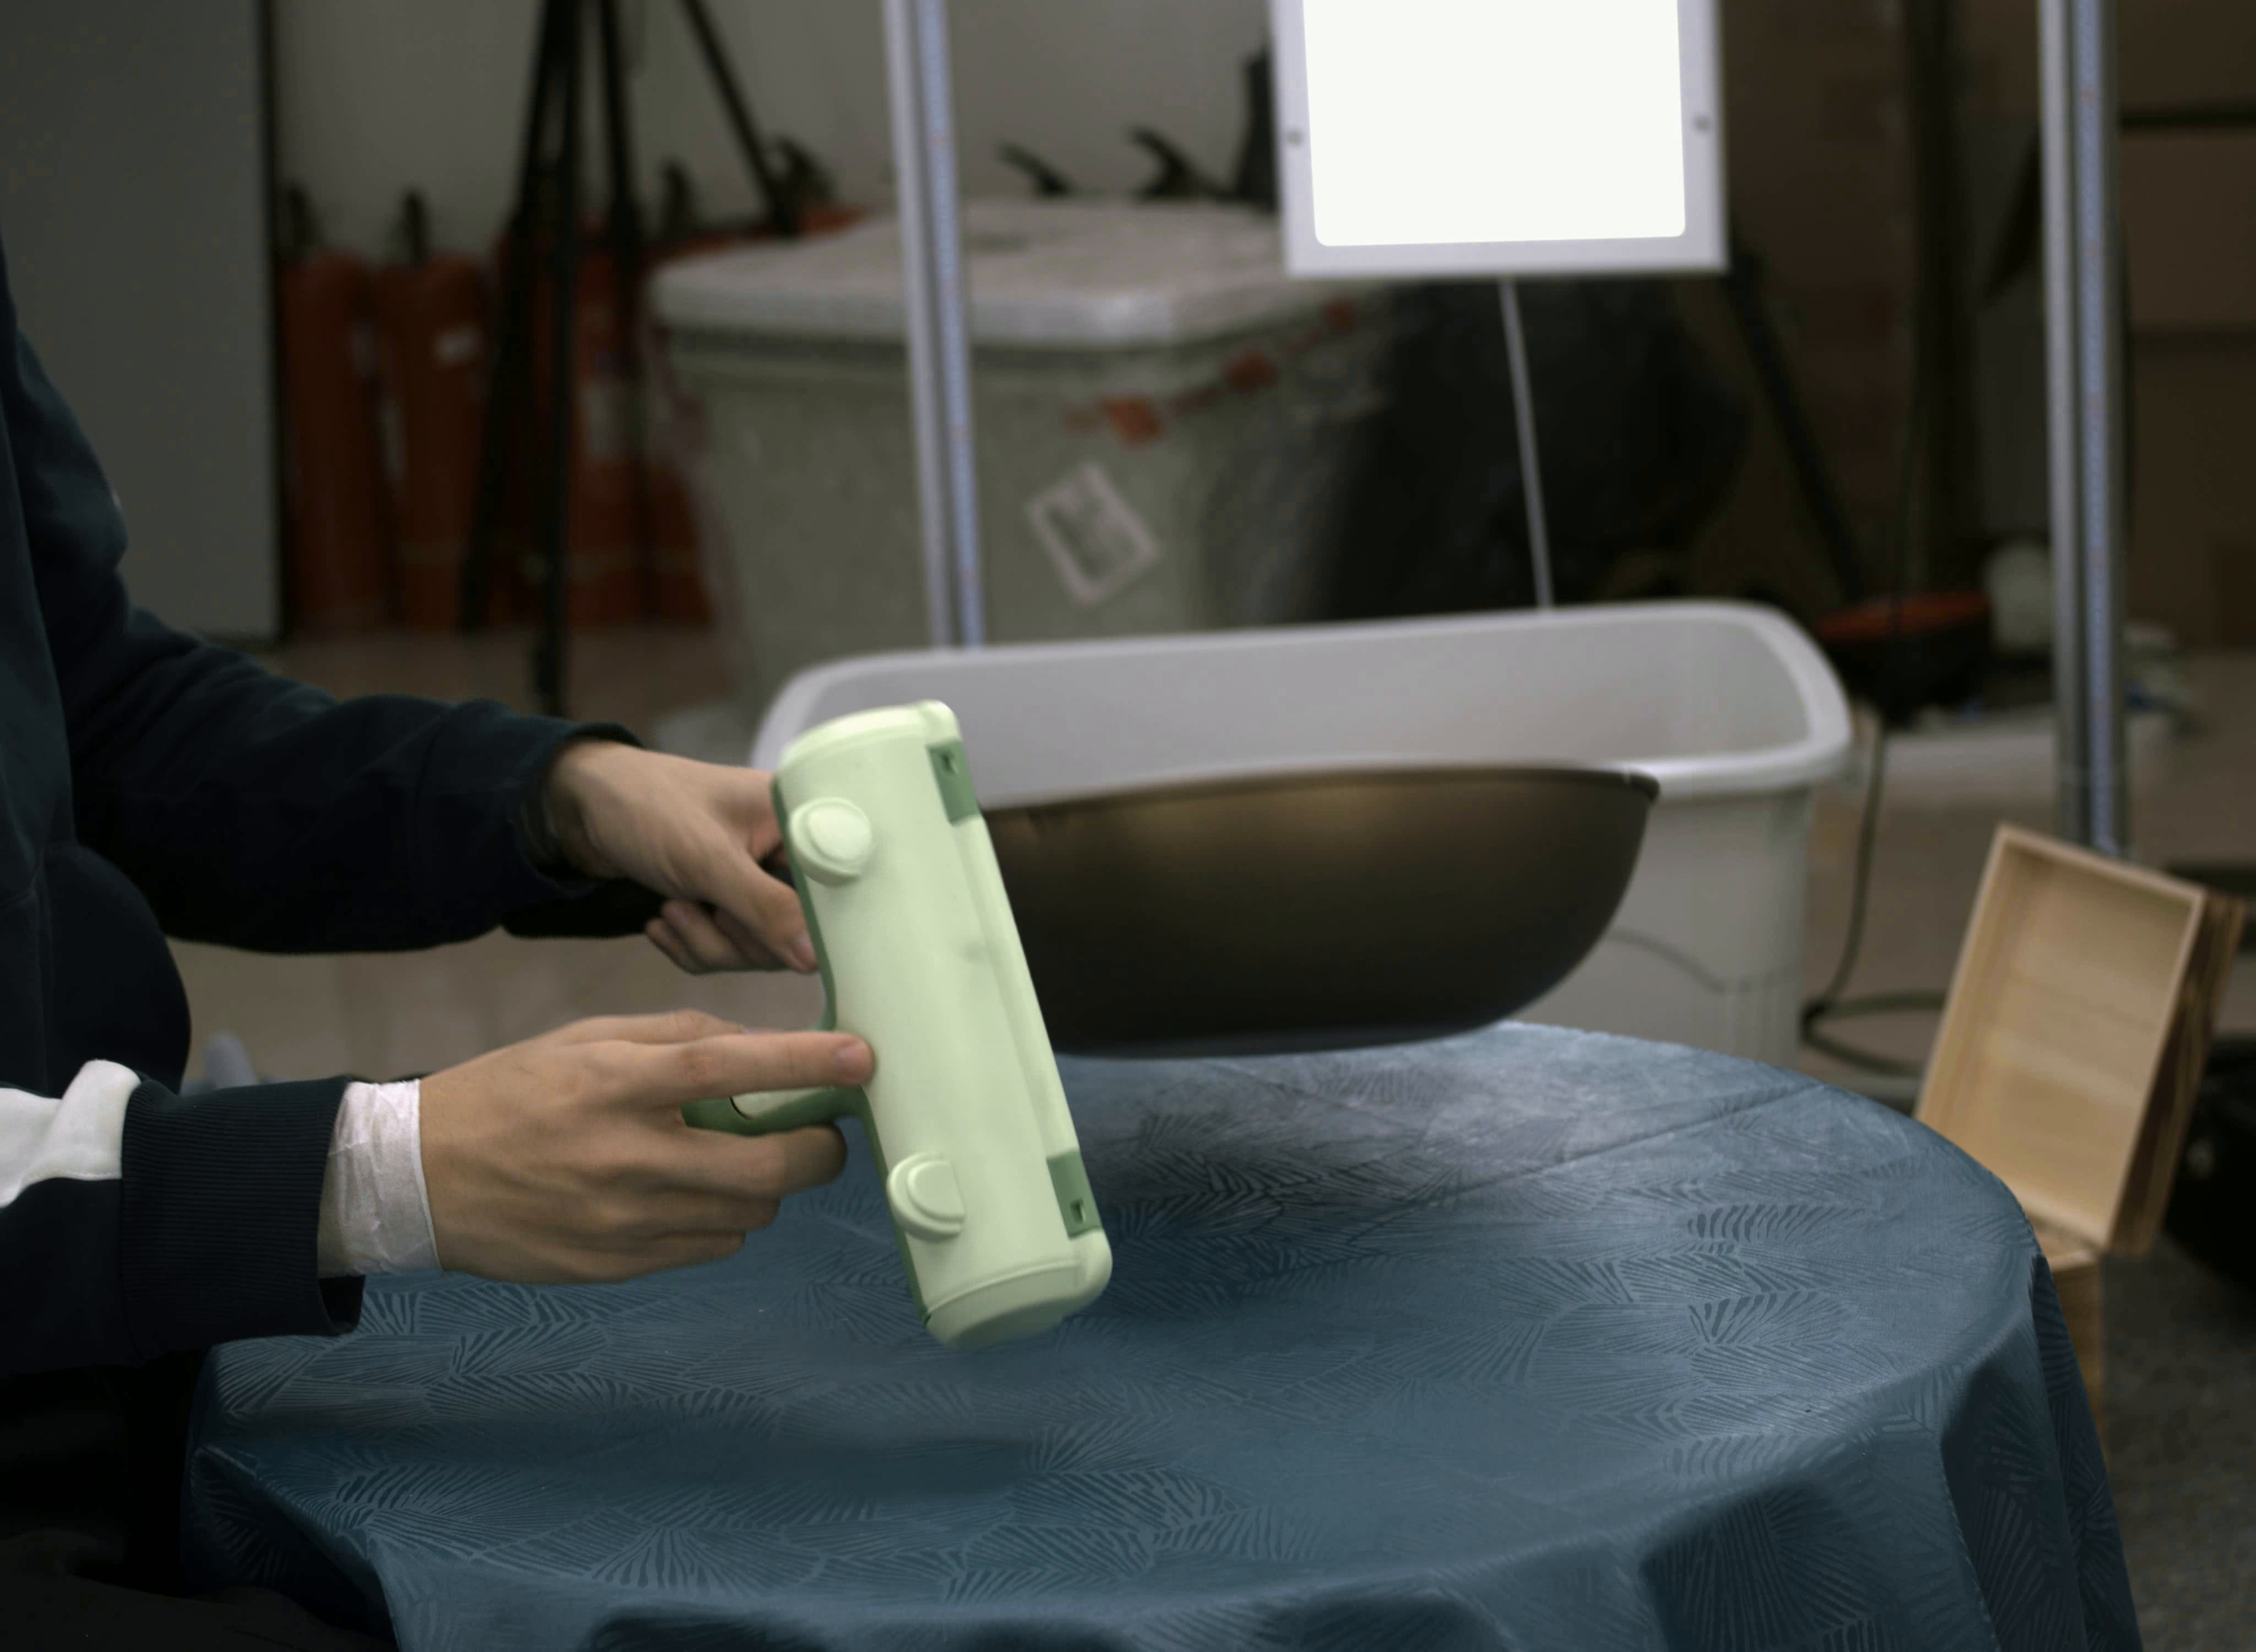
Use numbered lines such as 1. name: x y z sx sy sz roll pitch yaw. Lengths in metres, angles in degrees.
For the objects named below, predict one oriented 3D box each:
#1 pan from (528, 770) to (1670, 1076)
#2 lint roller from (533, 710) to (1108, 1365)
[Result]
1. pan: -0.027 0.048 1.936 0.473 0.087 0.281 -7 -5 33
2. lint roller: -0.111 0.080 1.685 0.185 0.199 0.081 -20 -20 14
